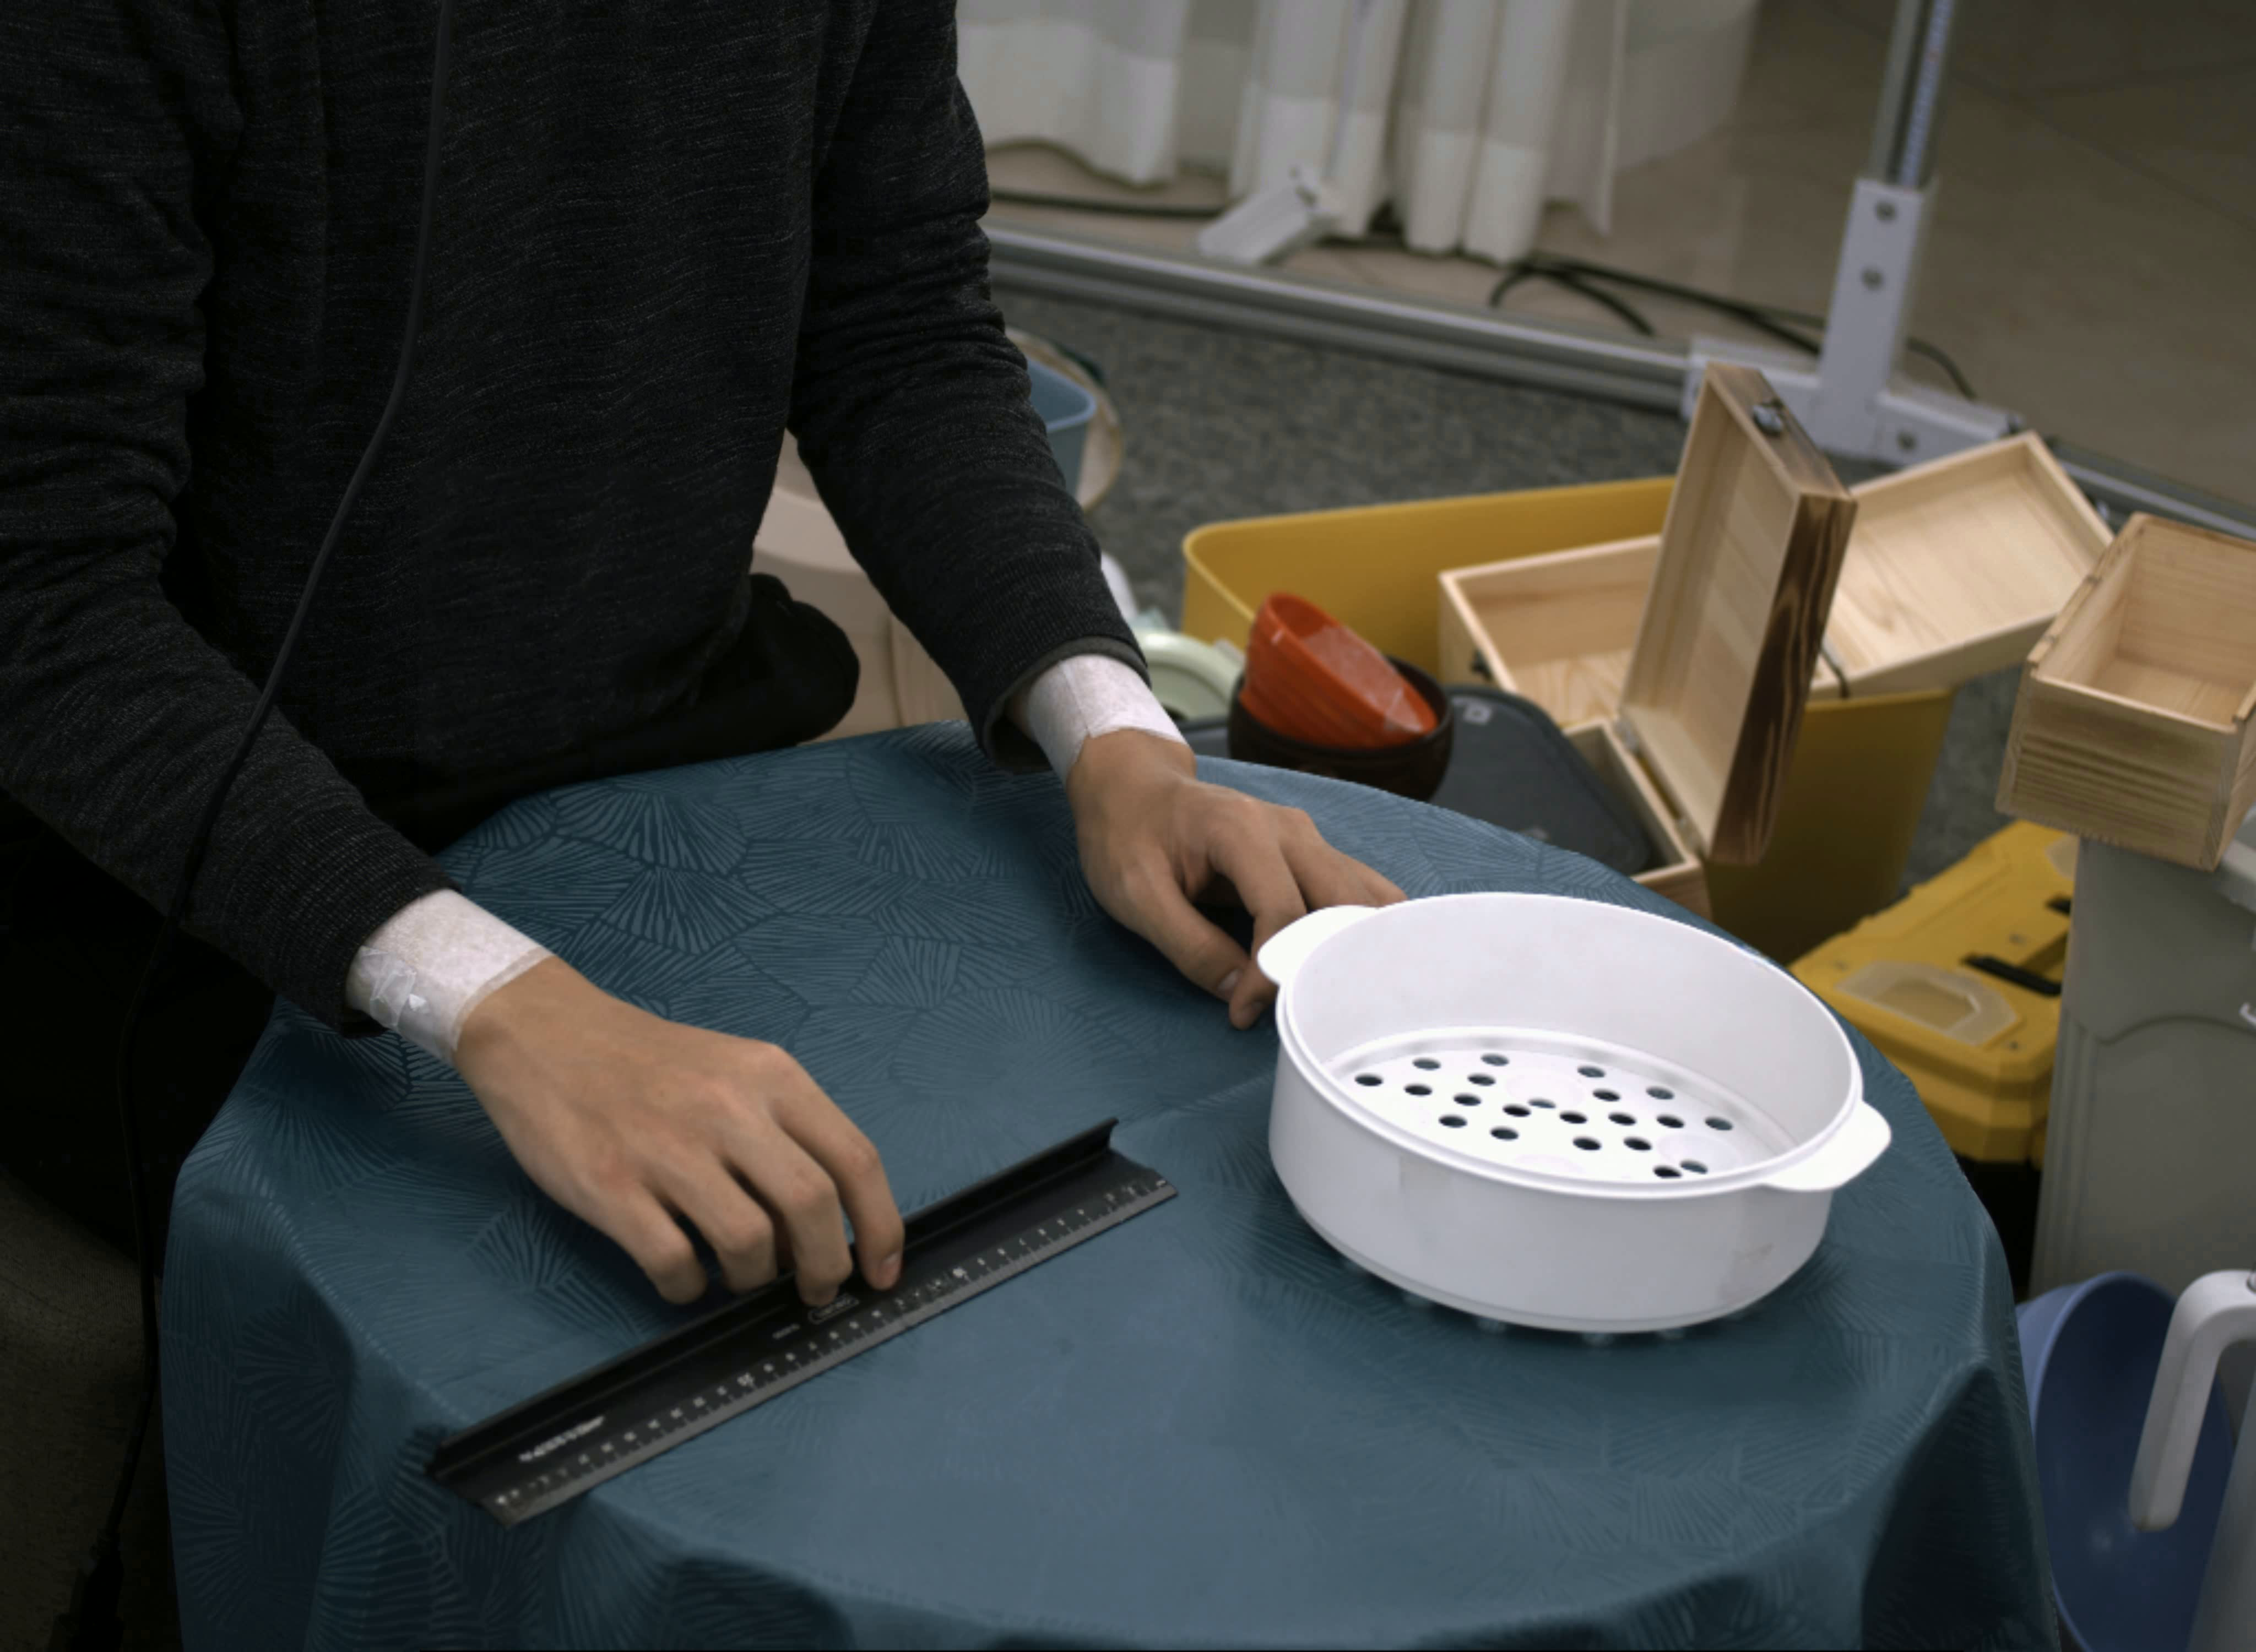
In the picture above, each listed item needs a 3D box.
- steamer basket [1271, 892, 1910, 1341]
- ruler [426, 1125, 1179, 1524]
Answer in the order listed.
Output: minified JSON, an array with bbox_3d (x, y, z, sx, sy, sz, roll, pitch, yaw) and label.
[{"bbox_3d":[0.151,0.099,1.808,0.232,0.069,0.201,24,31,26],"label":"steamer basket"},{"bbox_3d":[-0.097,0.155,1.701,0.039,0.017,0.311,29,35,33],"label":"ruler"}]
